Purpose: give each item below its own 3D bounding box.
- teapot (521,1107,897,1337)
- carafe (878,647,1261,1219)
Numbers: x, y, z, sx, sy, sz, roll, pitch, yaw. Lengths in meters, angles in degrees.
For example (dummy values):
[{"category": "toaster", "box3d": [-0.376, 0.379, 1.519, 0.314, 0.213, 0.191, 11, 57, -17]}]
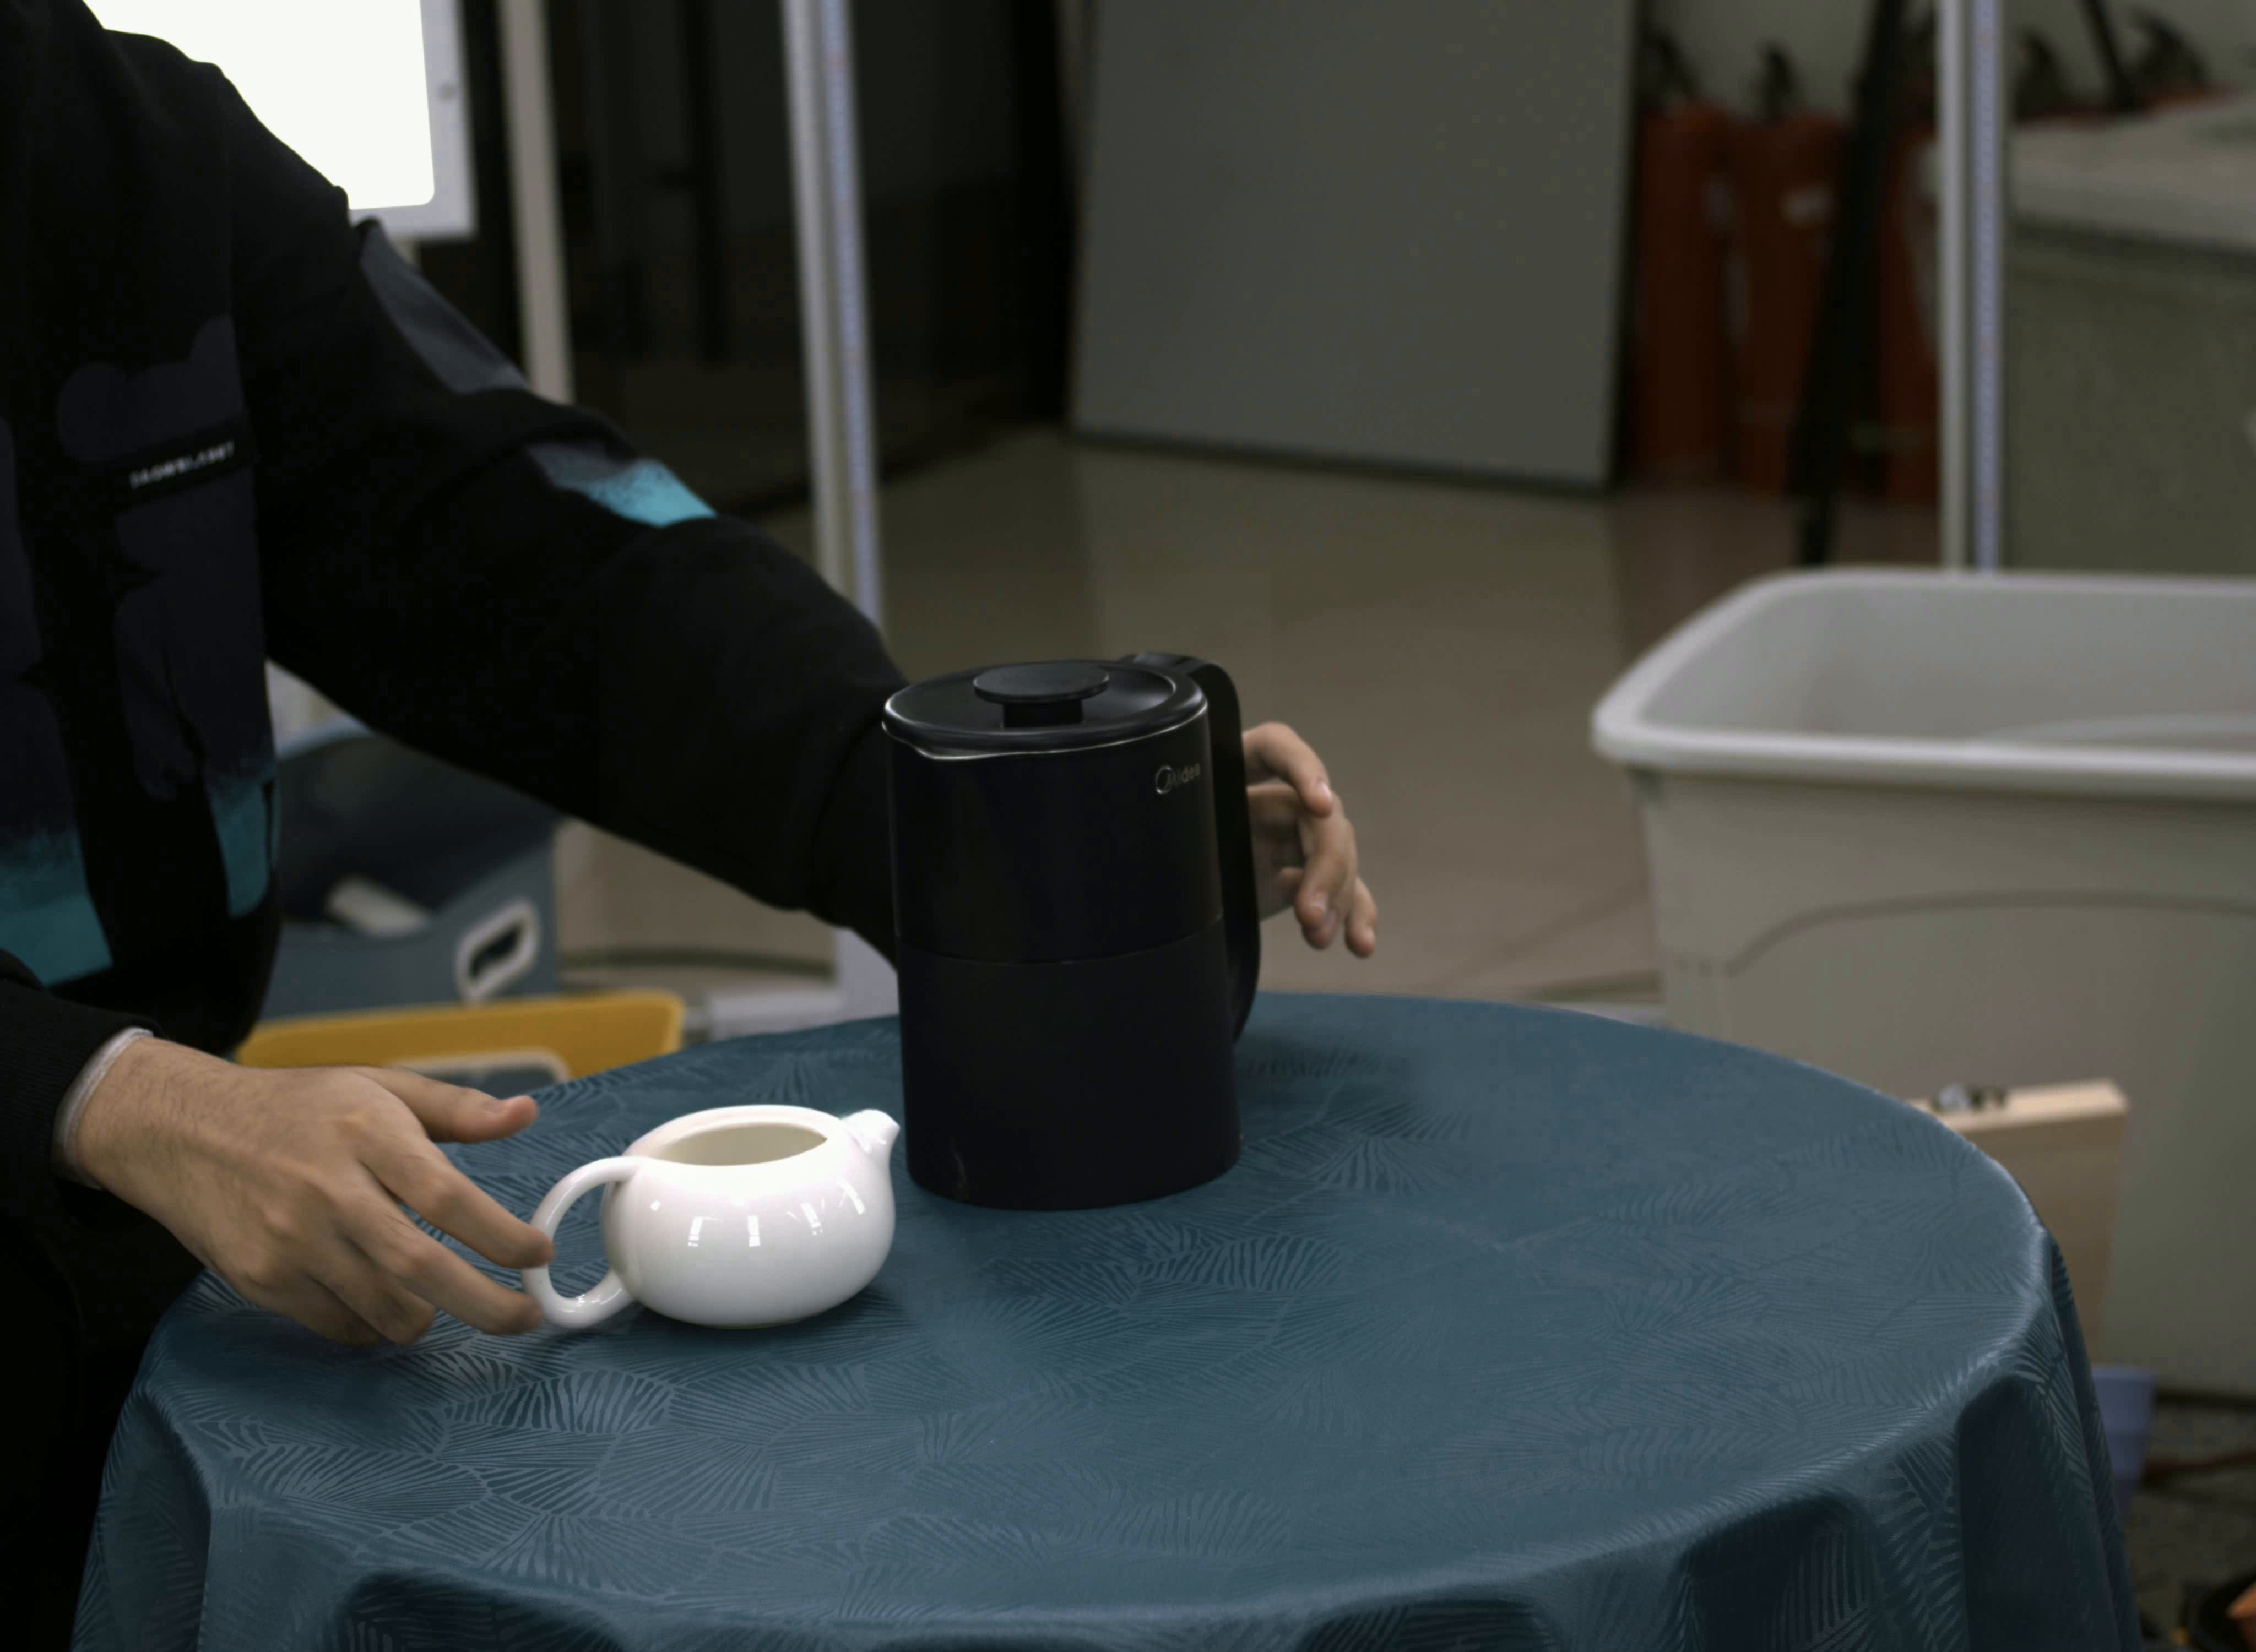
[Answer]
[{"category": "teapot", "box3d": [-0.128, 0.126, 1.679, 0.124, 0.057, 0.094, -12, 19, -26]}, {"category": "carafe", "box3d": [-0.012, 0.025, 1.806, 0.115, 0.175, 0.169, 2, 17, 31]}]
